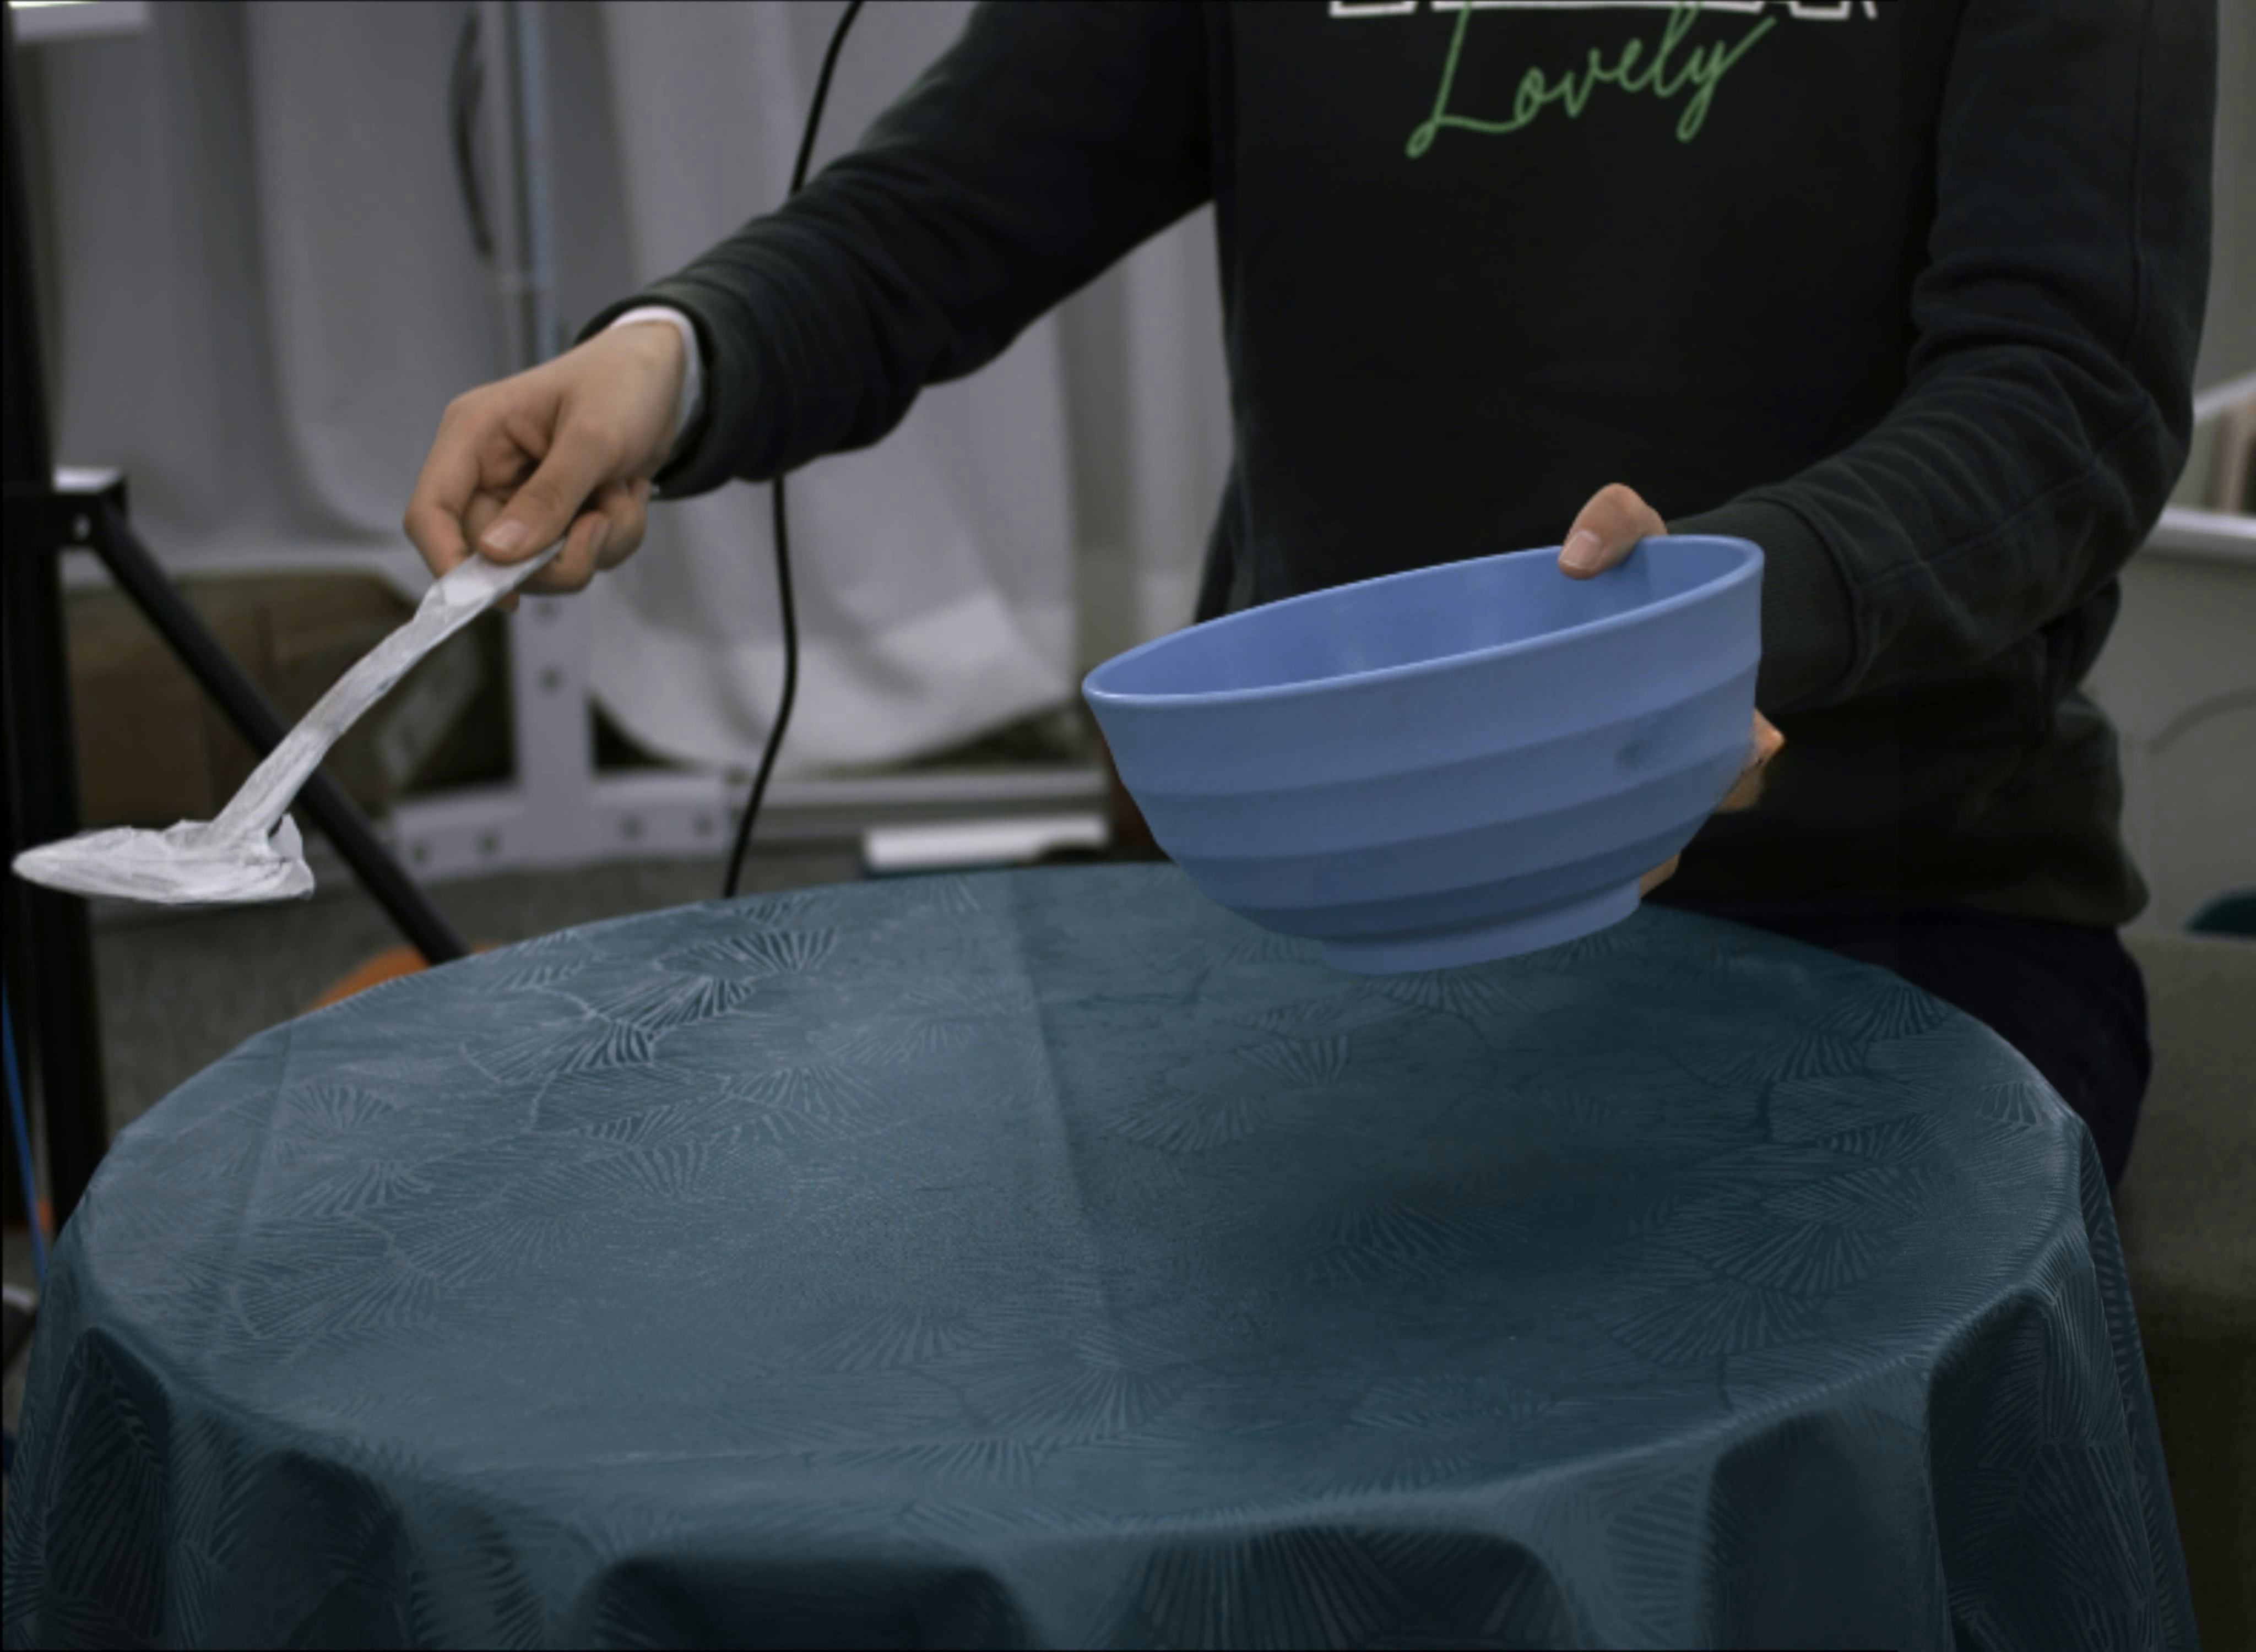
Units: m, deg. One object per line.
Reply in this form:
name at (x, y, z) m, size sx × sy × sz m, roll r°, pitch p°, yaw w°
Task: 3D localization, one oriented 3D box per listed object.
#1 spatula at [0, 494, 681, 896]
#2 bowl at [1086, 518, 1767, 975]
spatula at (-0.225, -0.049, 1.608) m, size 0.100 × 0.044 × 0.361 m, roll 9°, pitch 29°, yaw 20°
bowl at (0.093, -0.016, 1.503) m, size 0.196 × 0.095 × 0.197 m, roll -13°, pitch 10°, yaw 1°
